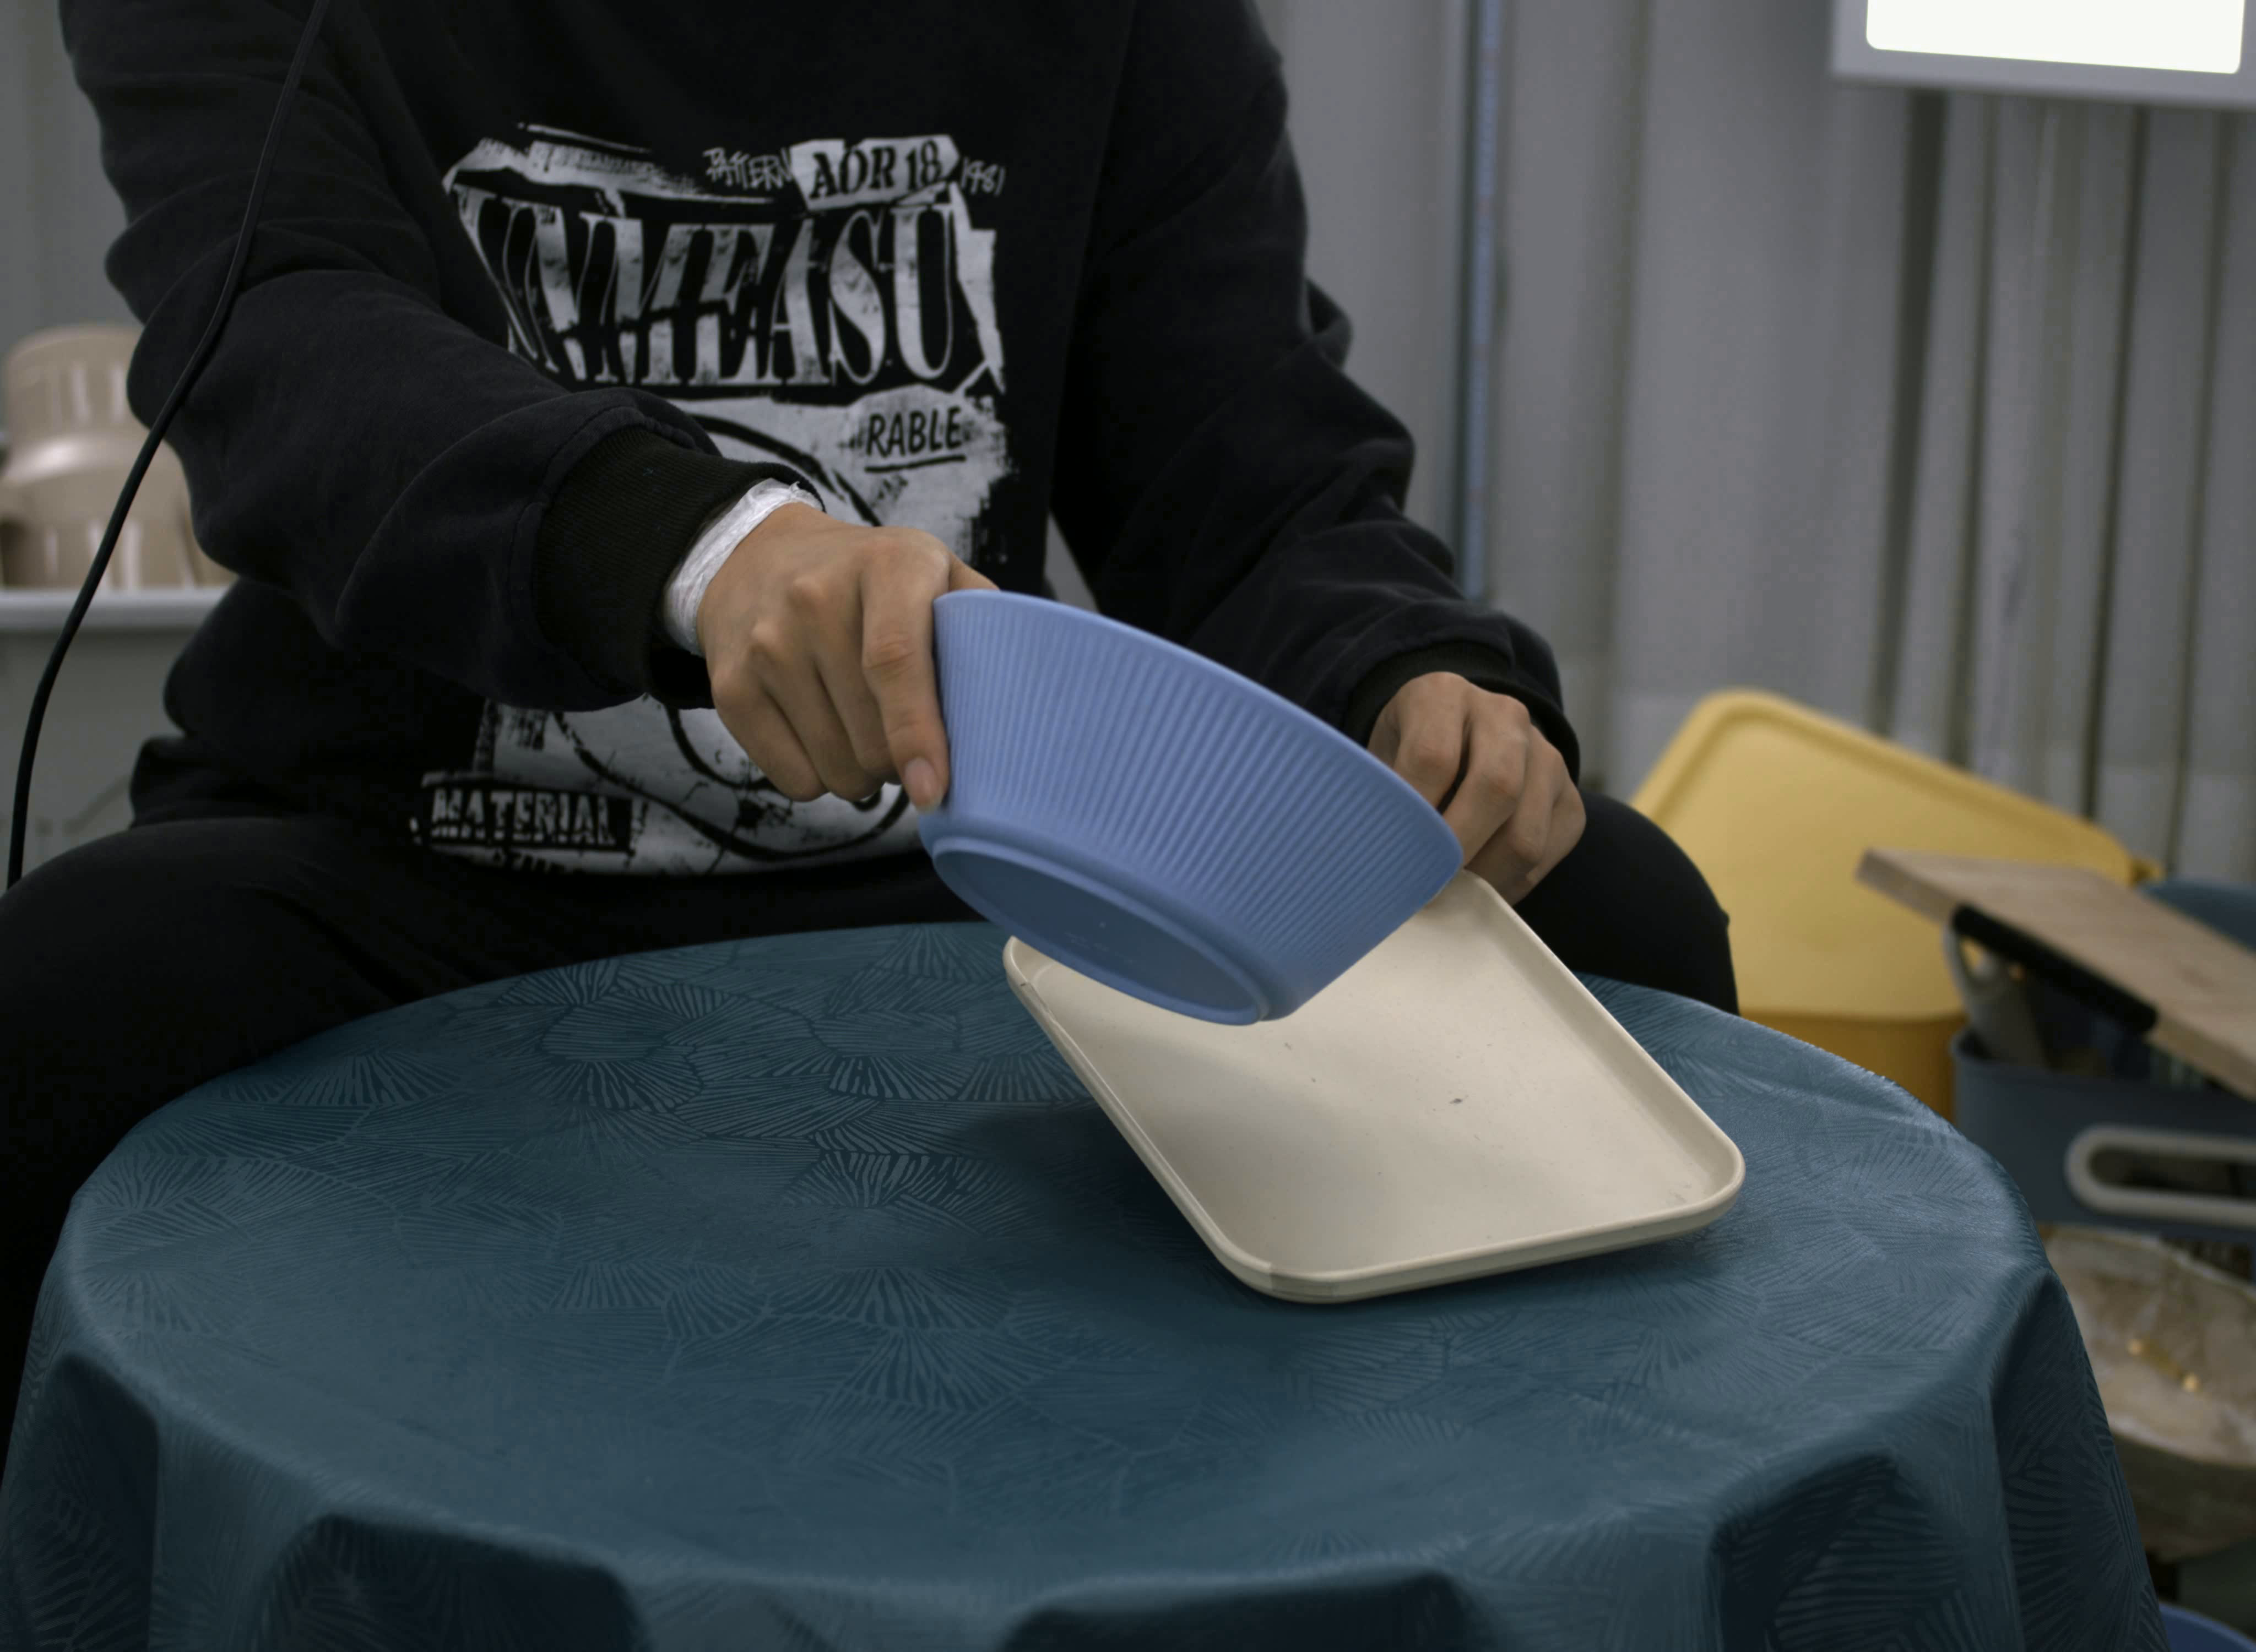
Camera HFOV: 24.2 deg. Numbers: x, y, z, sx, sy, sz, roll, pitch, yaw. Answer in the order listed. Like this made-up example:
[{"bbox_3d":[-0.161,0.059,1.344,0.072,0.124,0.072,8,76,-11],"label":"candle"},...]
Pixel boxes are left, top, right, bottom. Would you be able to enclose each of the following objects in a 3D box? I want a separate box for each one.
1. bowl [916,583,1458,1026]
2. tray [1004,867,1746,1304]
[{"bbox_3d":[0.004,0.003,1.544,0.175,0.070,0.177,25,-13,7],"label":"bowl"},{"bbox_3d":[0.073,0.077,1.639,0.172,0.017,0.236,-8,29,-20],"label":"tray"}]
